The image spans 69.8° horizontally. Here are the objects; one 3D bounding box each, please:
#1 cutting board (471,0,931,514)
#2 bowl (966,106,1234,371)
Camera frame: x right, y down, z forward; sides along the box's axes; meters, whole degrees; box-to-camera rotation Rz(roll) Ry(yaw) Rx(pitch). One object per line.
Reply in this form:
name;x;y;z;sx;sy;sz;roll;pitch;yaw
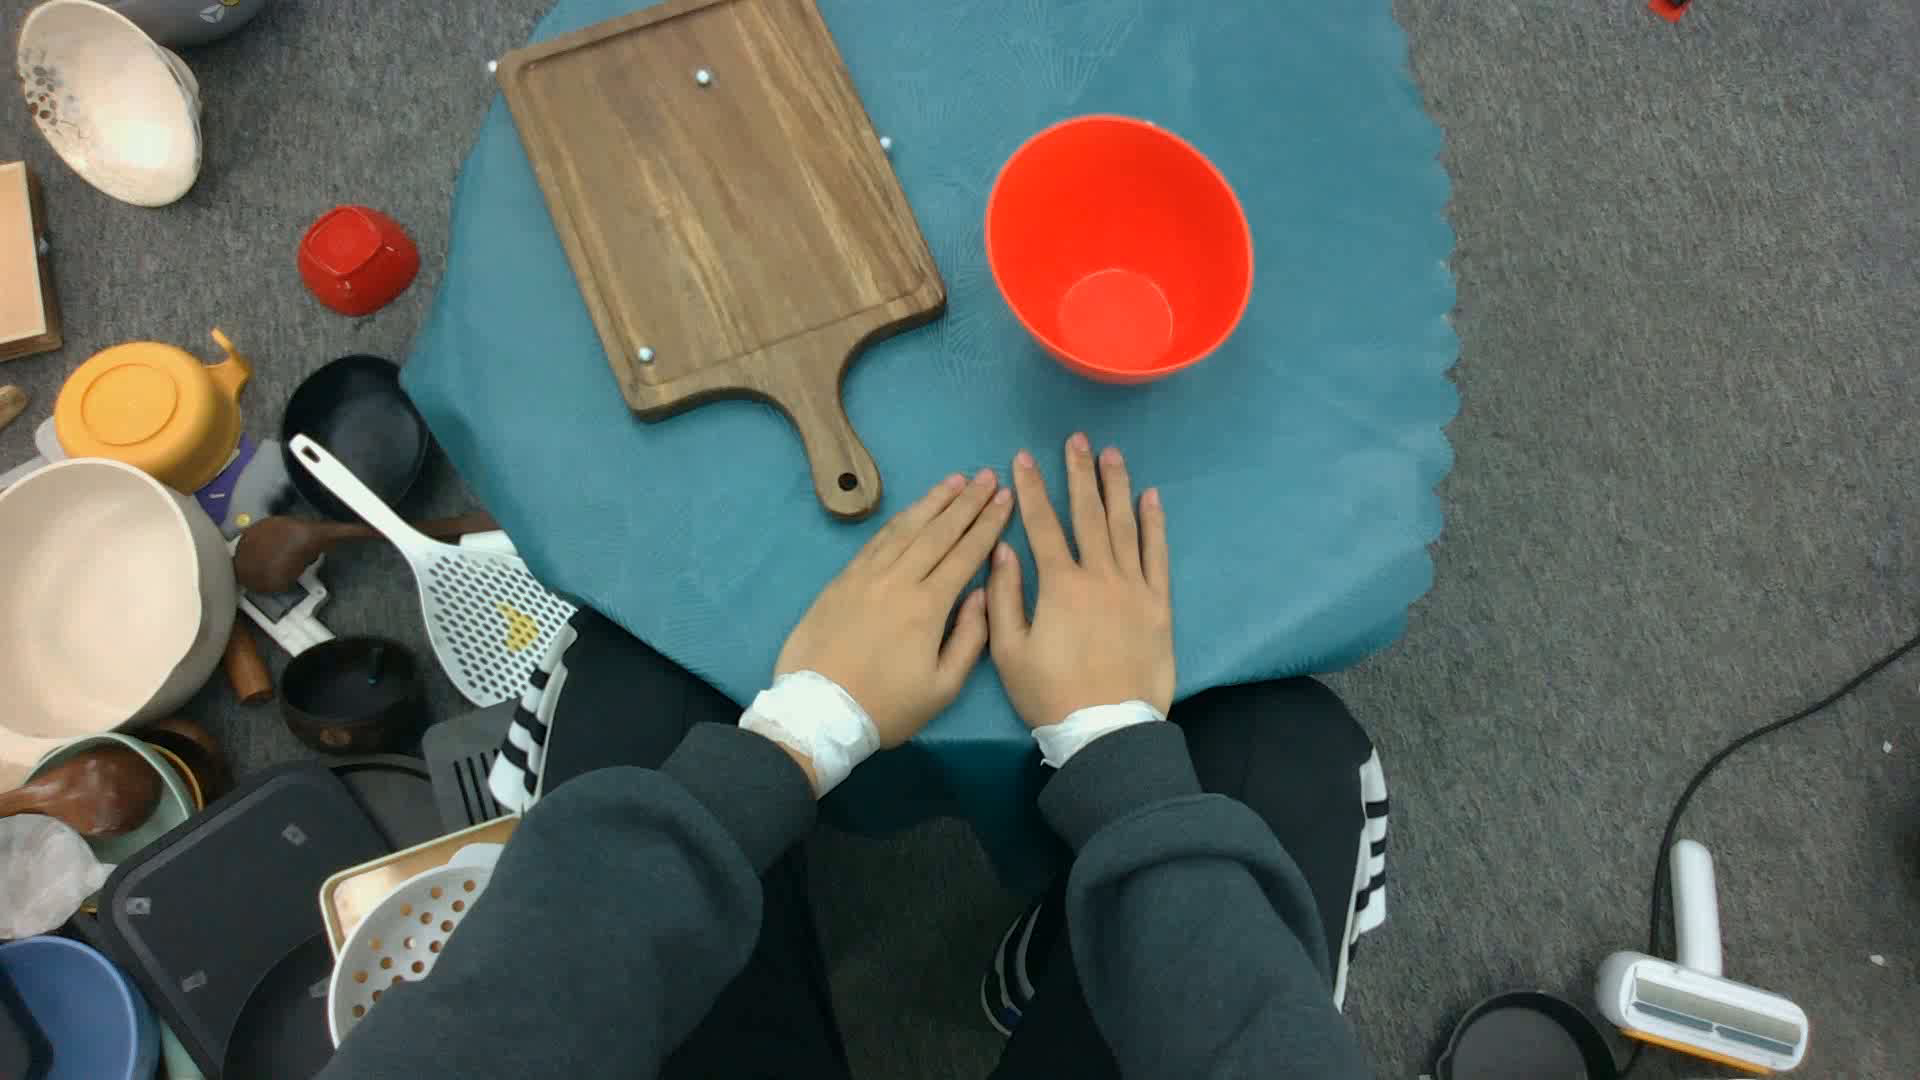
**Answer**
cutting board;-0.136;-0.172;0.806;0.201;0.023;0.352;-22;76;-10
bowl;0.074;-0.154;0.772;0.148;0.104;0.148;1;73;-3
